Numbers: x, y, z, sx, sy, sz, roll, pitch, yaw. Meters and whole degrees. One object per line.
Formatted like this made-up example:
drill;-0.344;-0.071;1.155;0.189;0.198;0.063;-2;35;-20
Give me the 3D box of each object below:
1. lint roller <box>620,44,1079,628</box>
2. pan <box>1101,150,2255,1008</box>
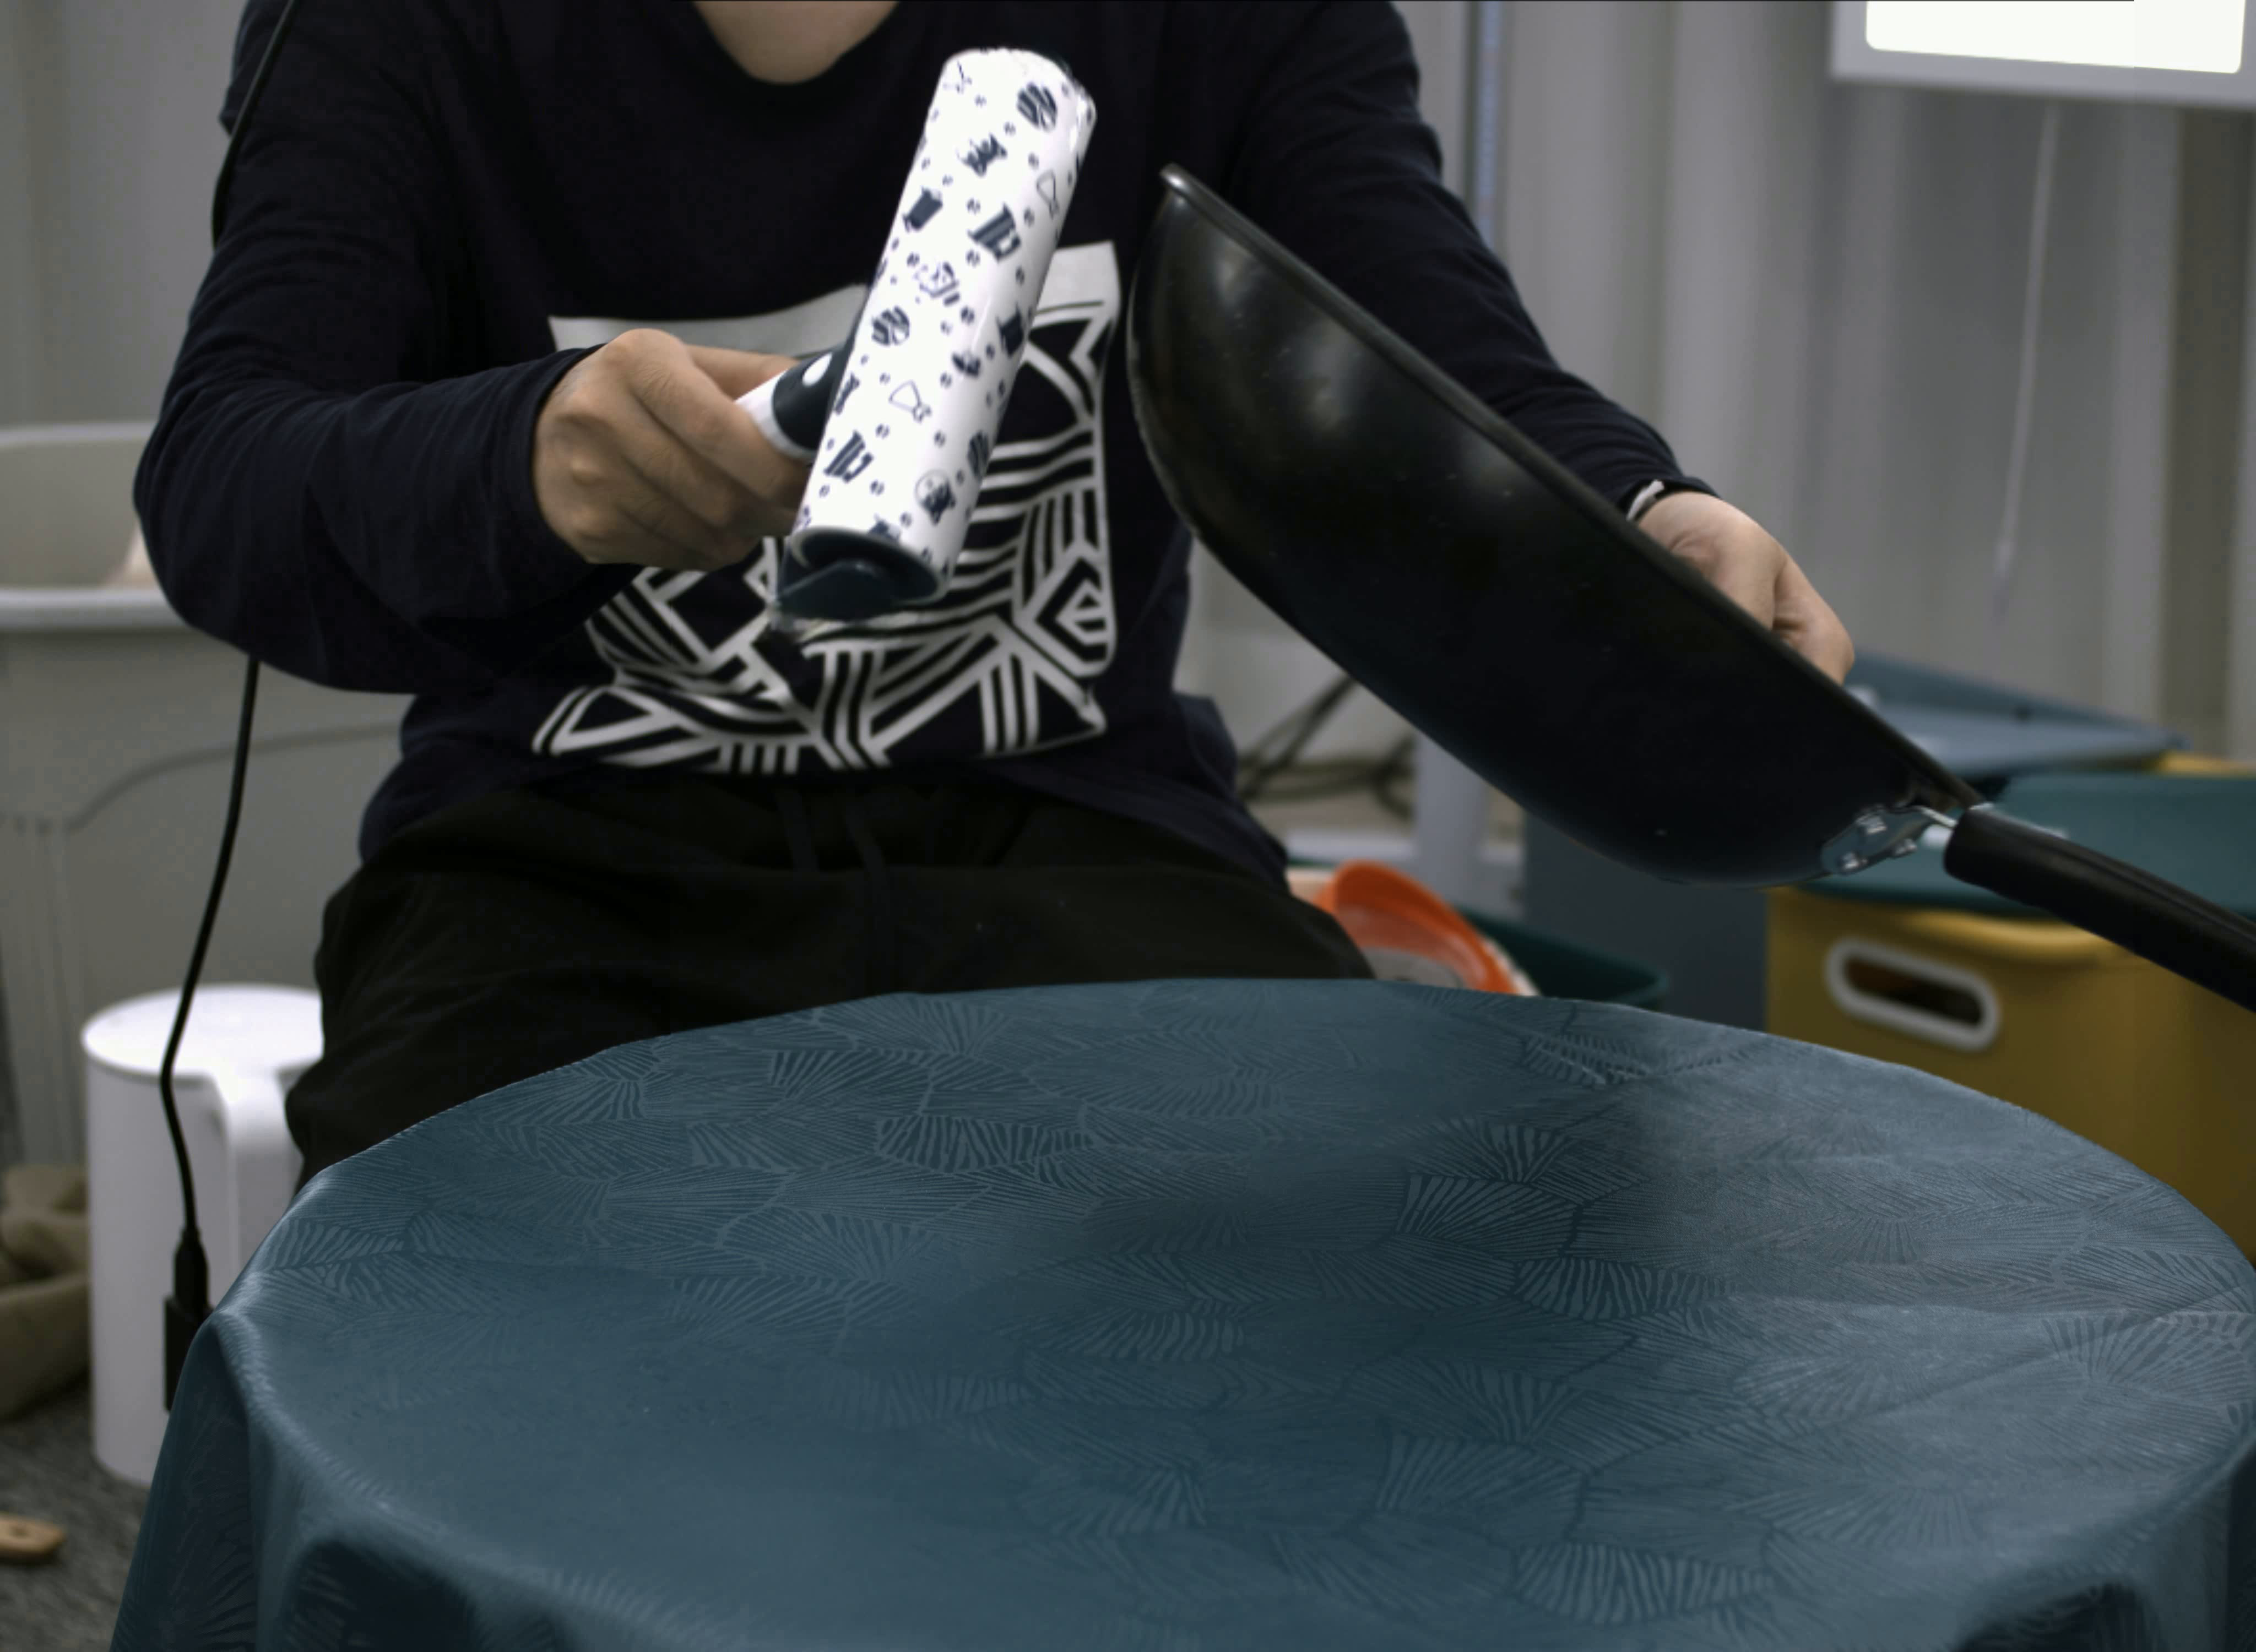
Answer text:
lint roller;-0.105;-0.124;1.609;0.051;0.176;0.245;25;-23;-24
pan;0.170;-0.034;1.548;0.472;0.112;0.312;40;7;20
